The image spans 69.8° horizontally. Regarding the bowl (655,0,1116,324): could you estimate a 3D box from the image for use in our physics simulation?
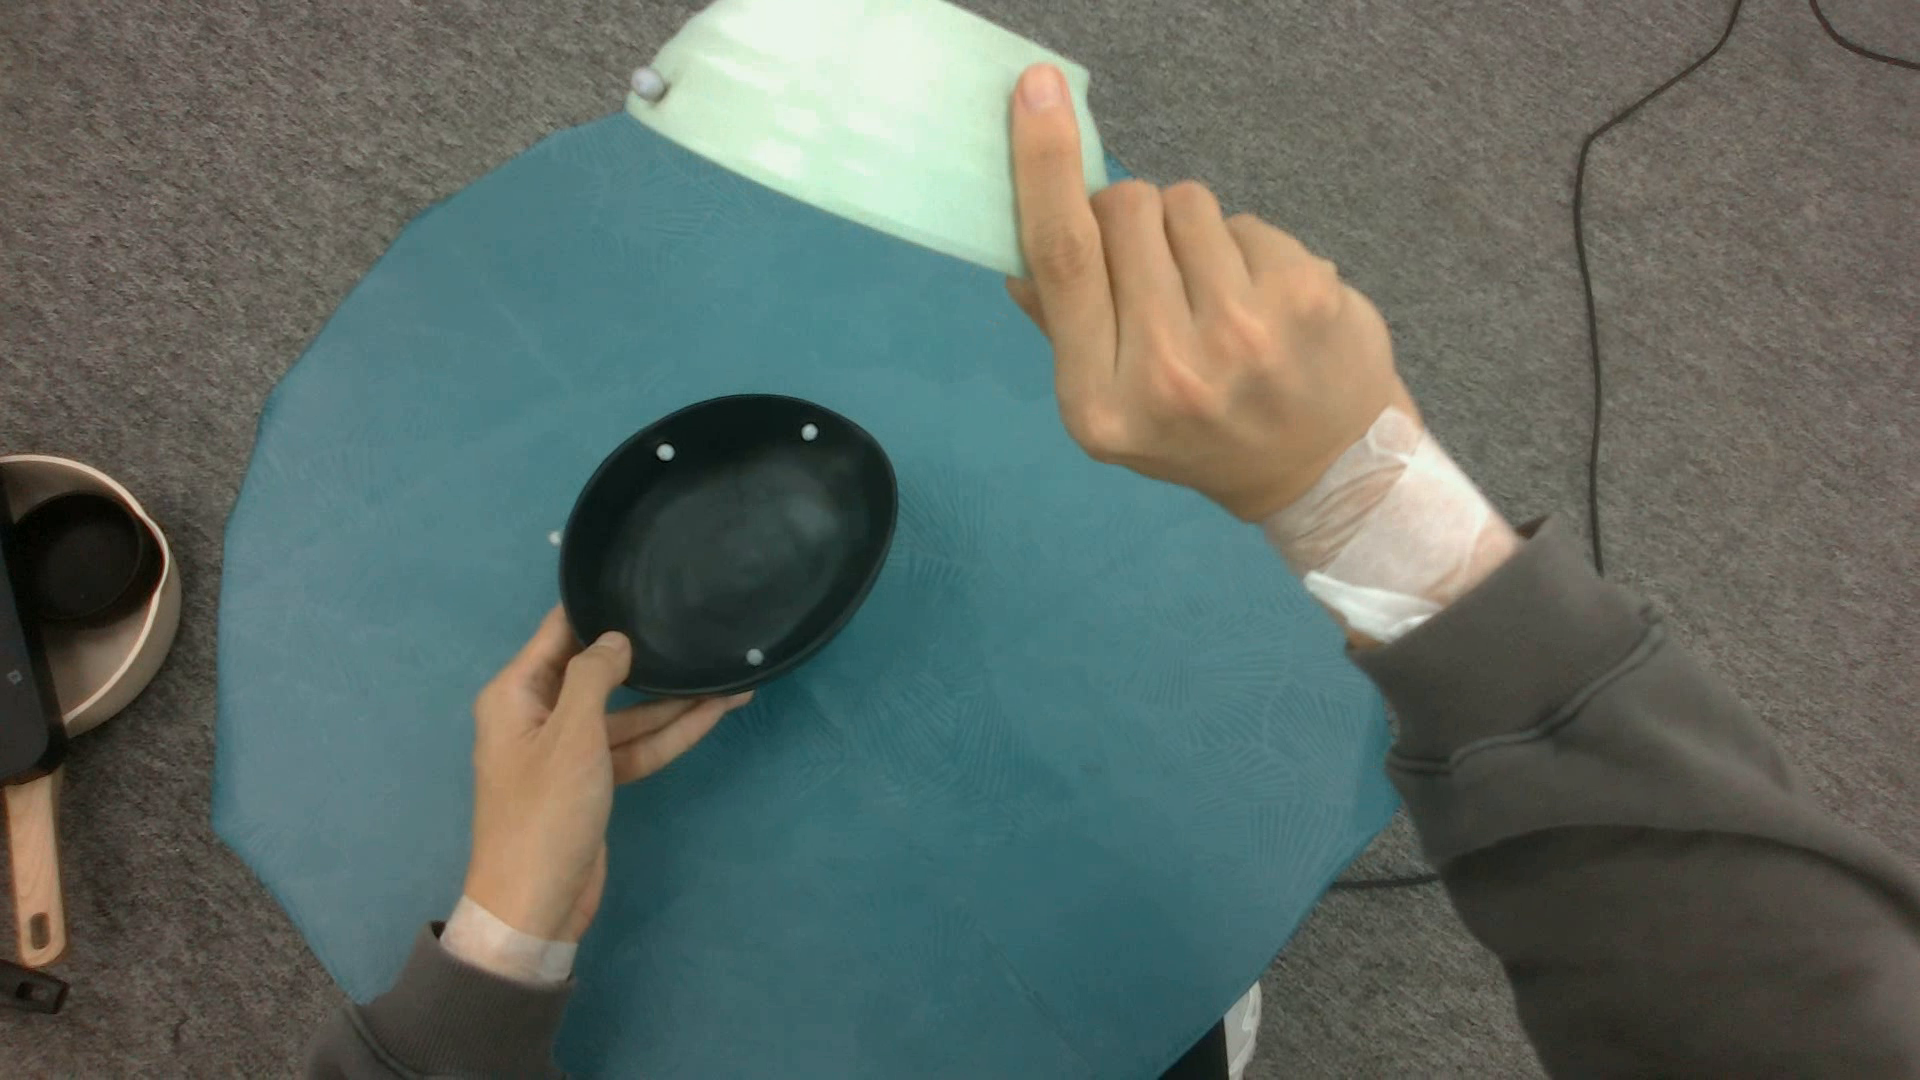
[{"bbox_3d":[-0.014,-0.123,0.415,0.151,0.152,0.058,25,108,4],"label":"bowl"}]

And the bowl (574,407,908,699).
[{"bbox_3d":[-0.104,0.010,0.675,0.137,0.066,0.171,42,69,14],"label":"bowl"}]
